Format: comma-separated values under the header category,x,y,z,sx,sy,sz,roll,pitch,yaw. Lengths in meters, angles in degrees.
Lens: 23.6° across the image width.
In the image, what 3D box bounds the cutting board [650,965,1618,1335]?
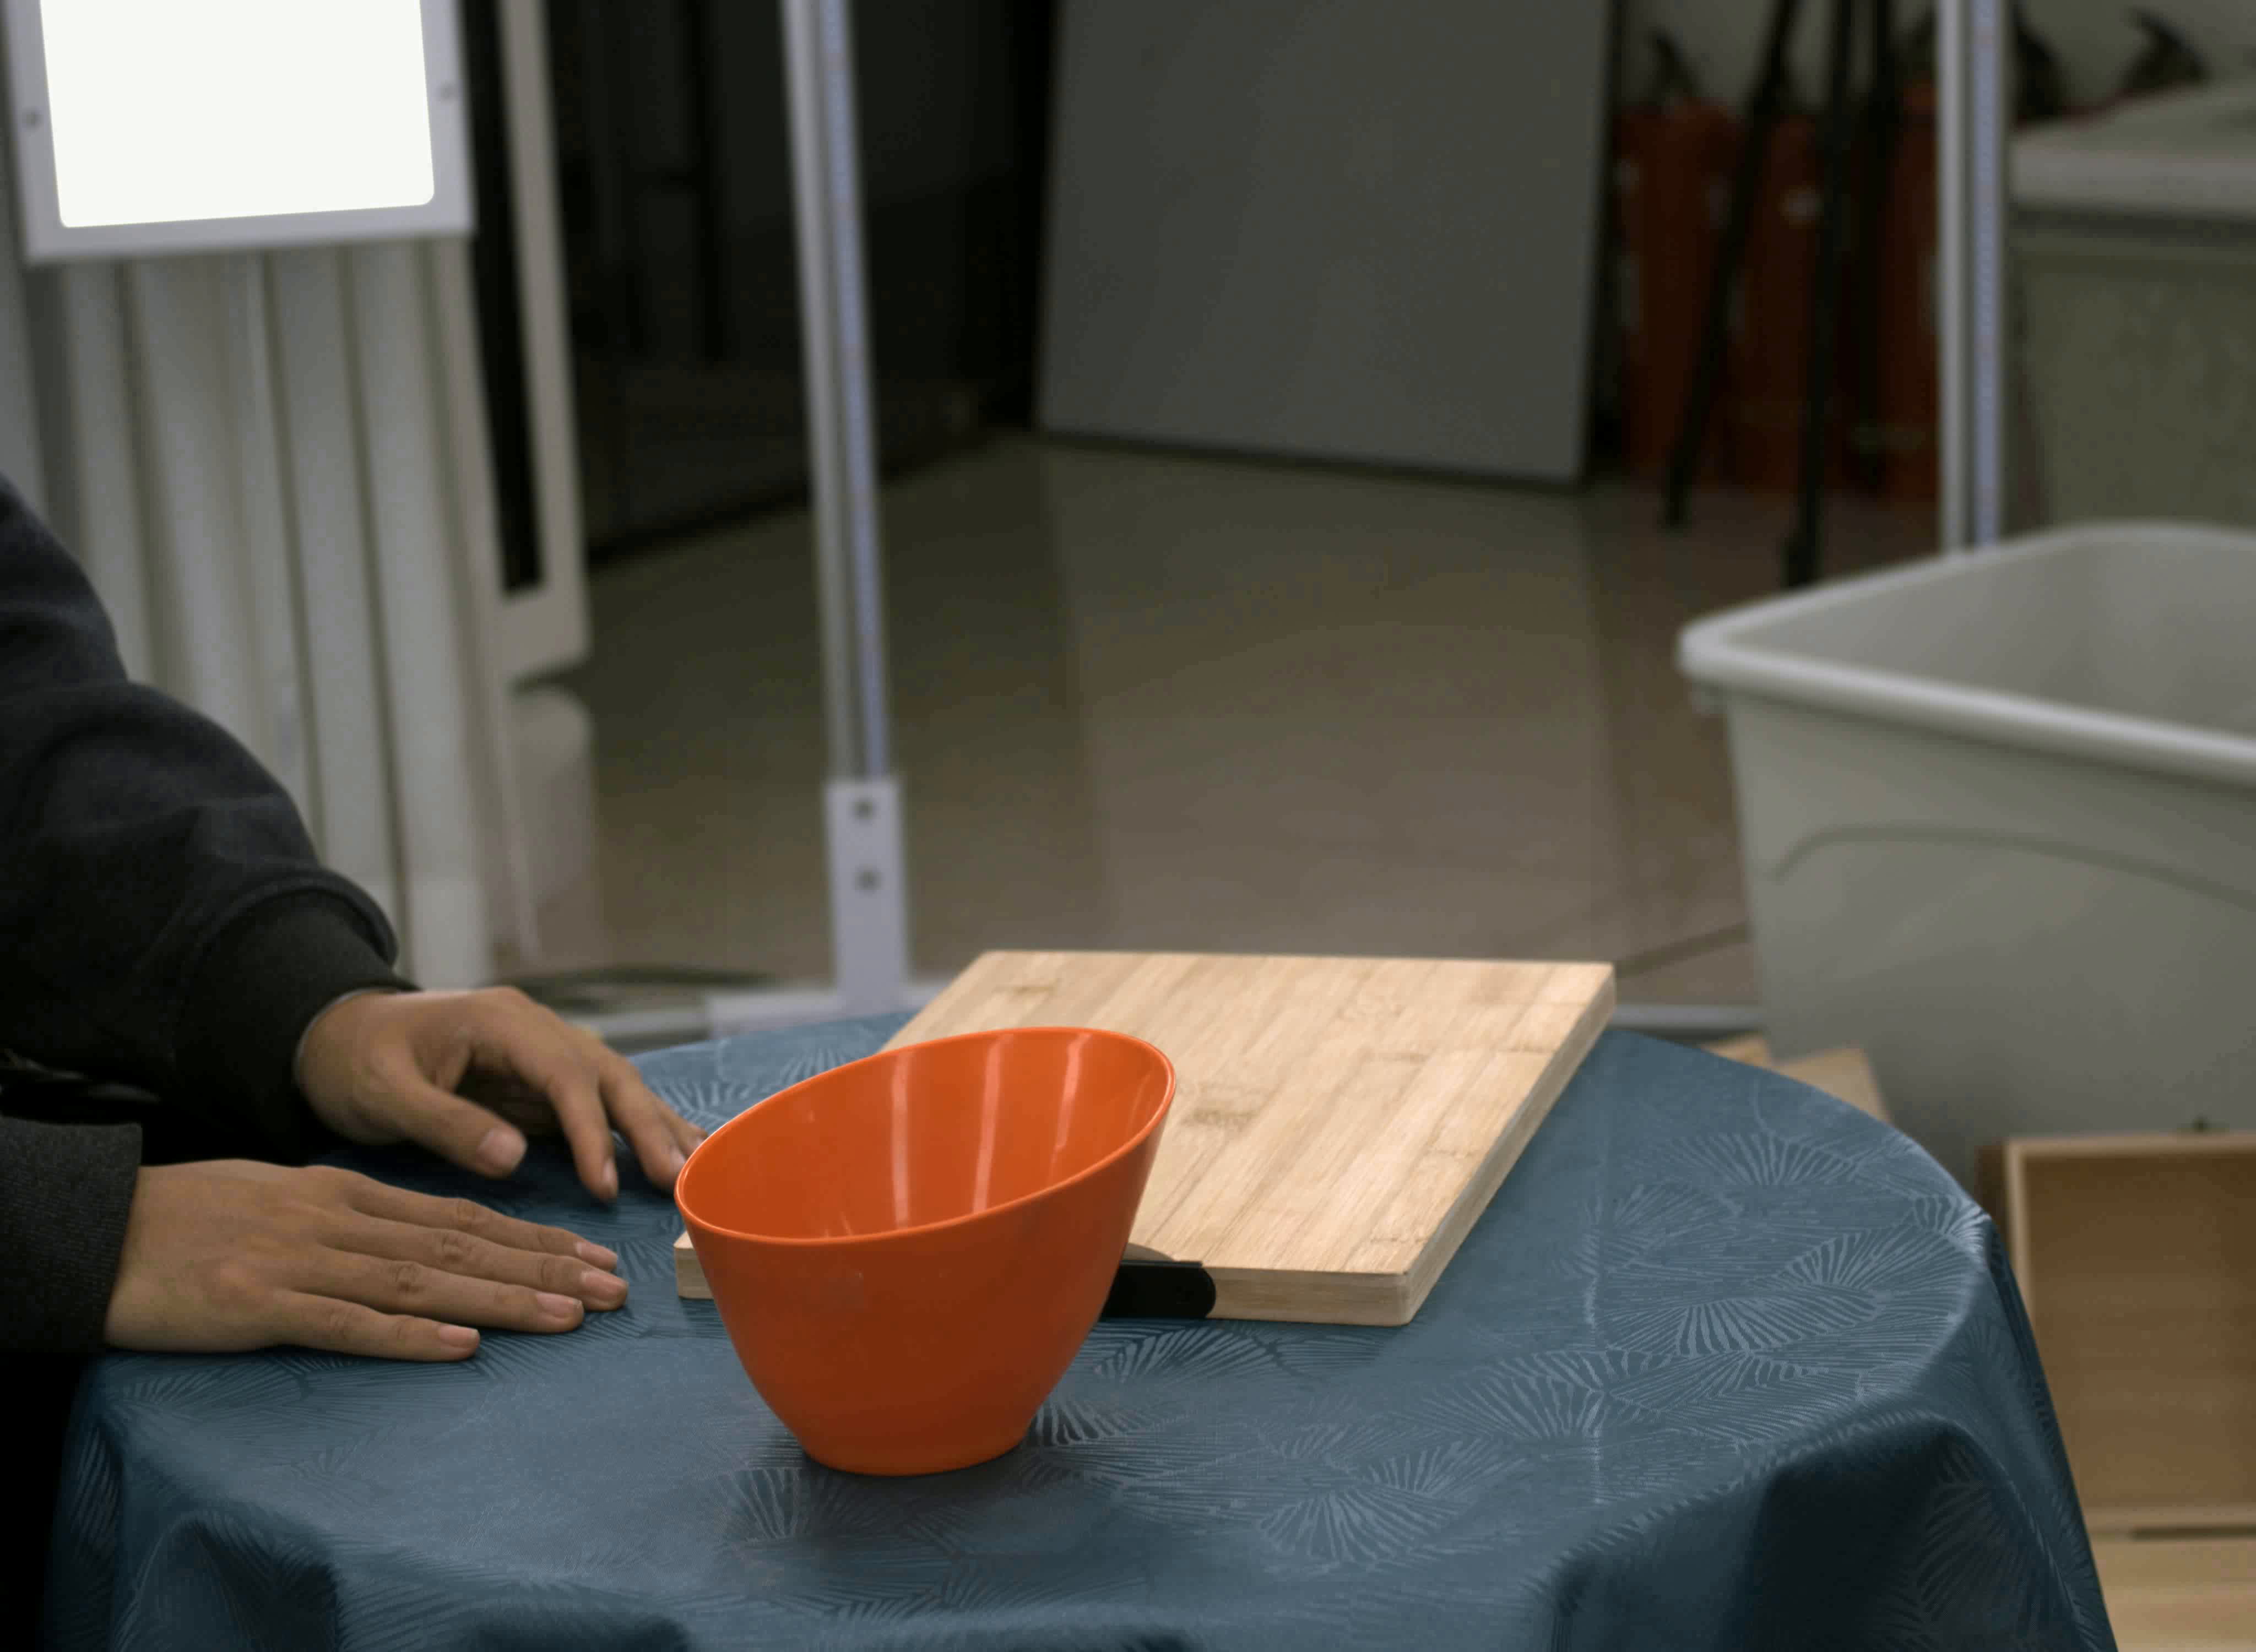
category,x,y,z,sx,sy,sz,roll,pitch,yaw
cutting board,0.014,0.103,1.806,0.250,0.024,0.346,-1,14,16

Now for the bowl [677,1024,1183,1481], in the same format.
category,x,y,z,sx,sy,sz,roll,pitch,yaw
bowl,-0.054,0.125,1.550,0.146,0.106,0.148,-3,15,0
